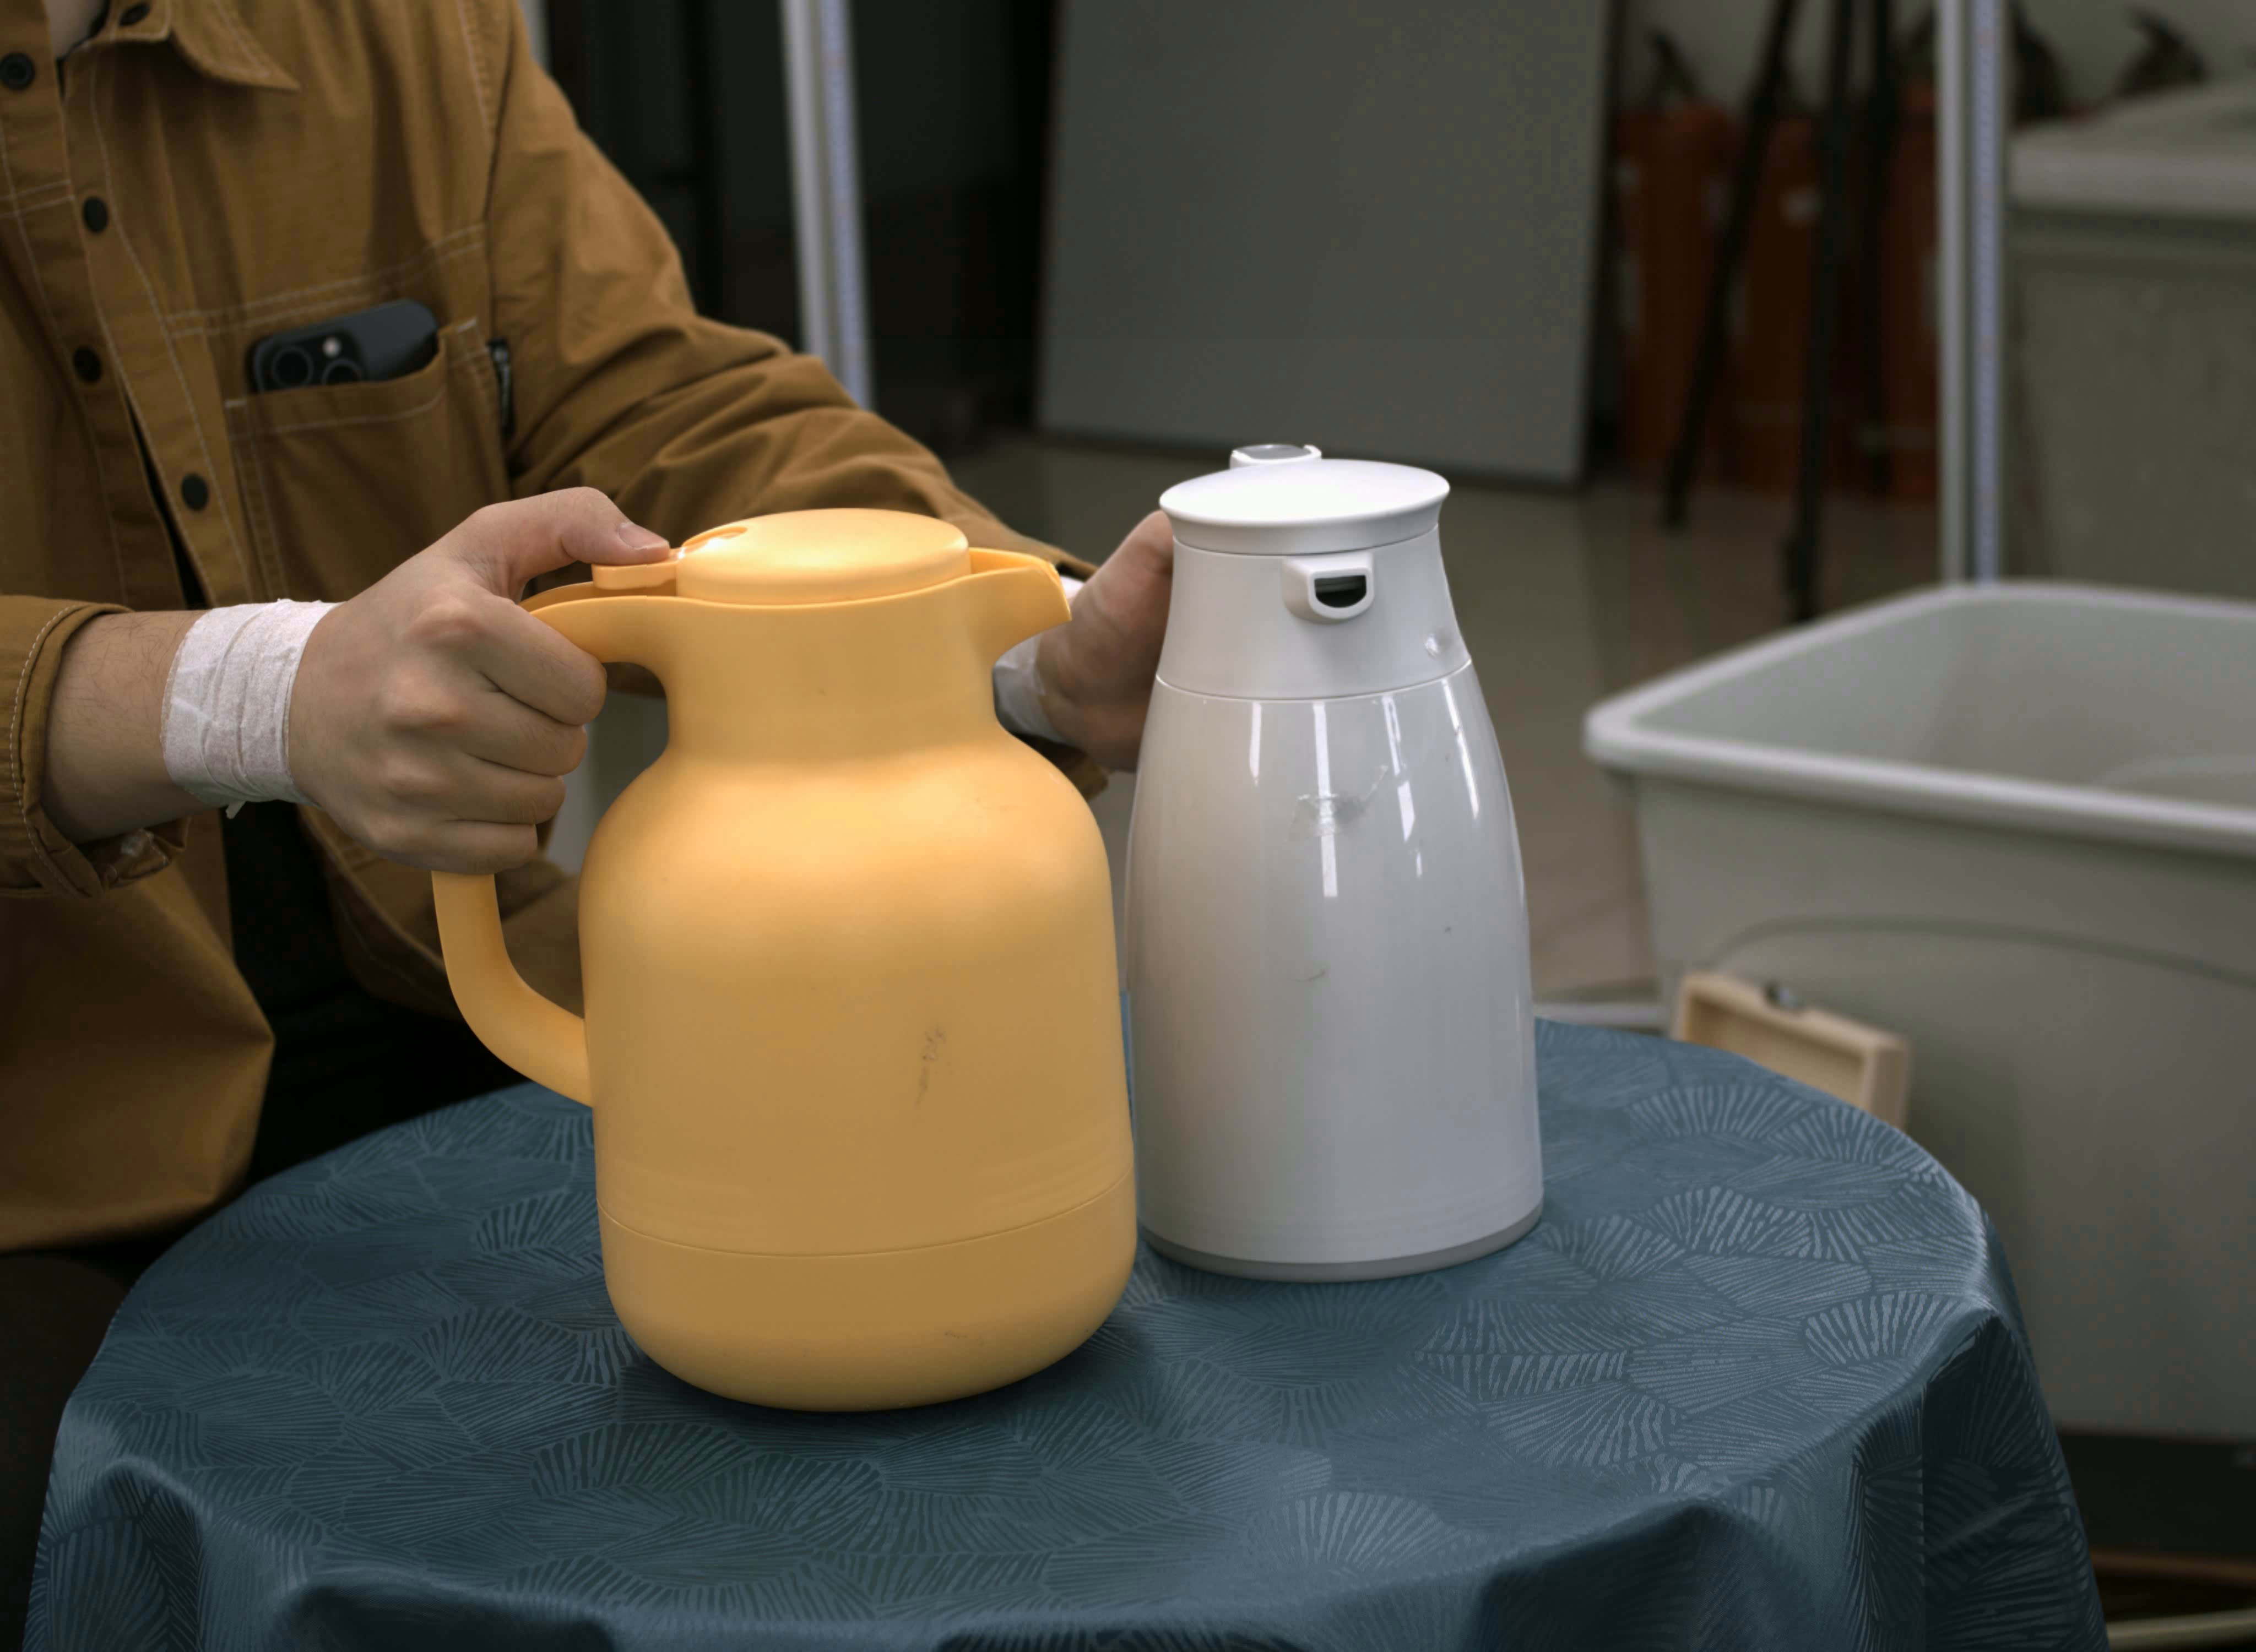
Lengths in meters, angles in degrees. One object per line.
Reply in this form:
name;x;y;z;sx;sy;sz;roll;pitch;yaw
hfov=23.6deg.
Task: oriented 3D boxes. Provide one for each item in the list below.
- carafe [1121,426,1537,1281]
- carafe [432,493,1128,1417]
carafe;0.056;0.001;1.723;0.130;0.251;0.168;-6;13;-7
carafe;-0.103;0.035;1.611;0.200;0.263;0.163;-3;11;1
